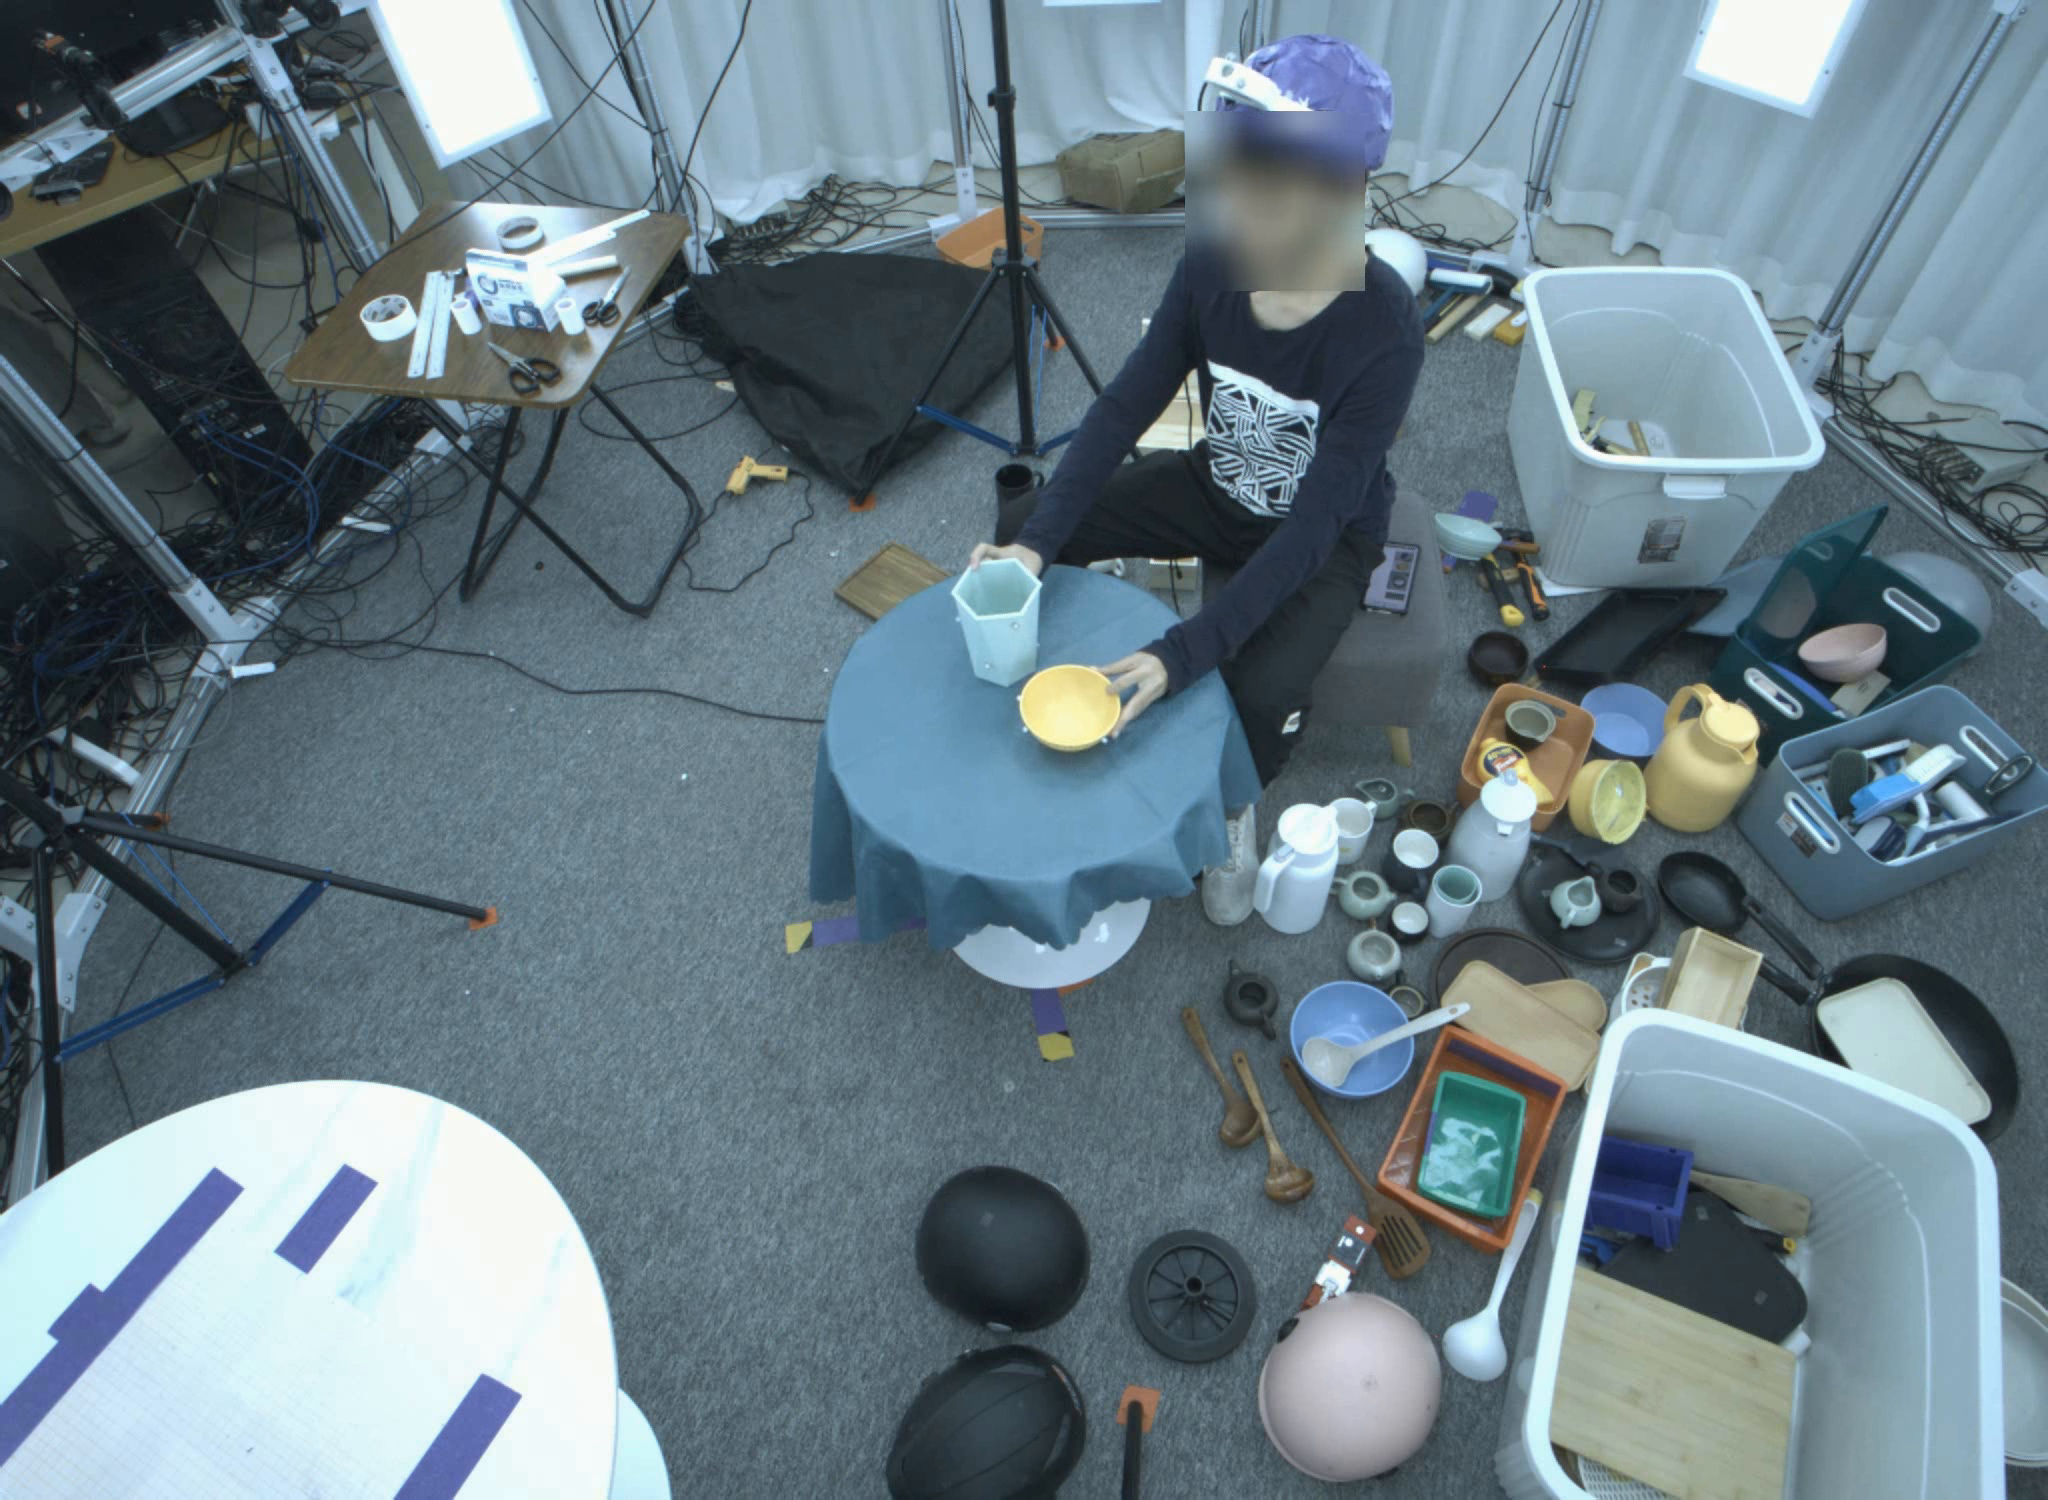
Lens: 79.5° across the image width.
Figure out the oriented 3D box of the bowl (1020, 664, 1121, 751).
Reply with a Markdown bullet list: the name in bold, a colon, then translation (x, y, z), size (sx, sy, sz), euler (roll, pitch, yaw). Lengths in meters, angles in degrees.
- **bowl**: translation (0.065, -0.050, 1.778), size (0.146, 0.060, 0.144), euler (3, 56, -3)

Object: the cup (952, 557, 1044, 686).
- **cup**: translation (-0.035, -0.184, 1.811), size (0.116, 0.164, 0.128), euler (-32, 59, -19)
